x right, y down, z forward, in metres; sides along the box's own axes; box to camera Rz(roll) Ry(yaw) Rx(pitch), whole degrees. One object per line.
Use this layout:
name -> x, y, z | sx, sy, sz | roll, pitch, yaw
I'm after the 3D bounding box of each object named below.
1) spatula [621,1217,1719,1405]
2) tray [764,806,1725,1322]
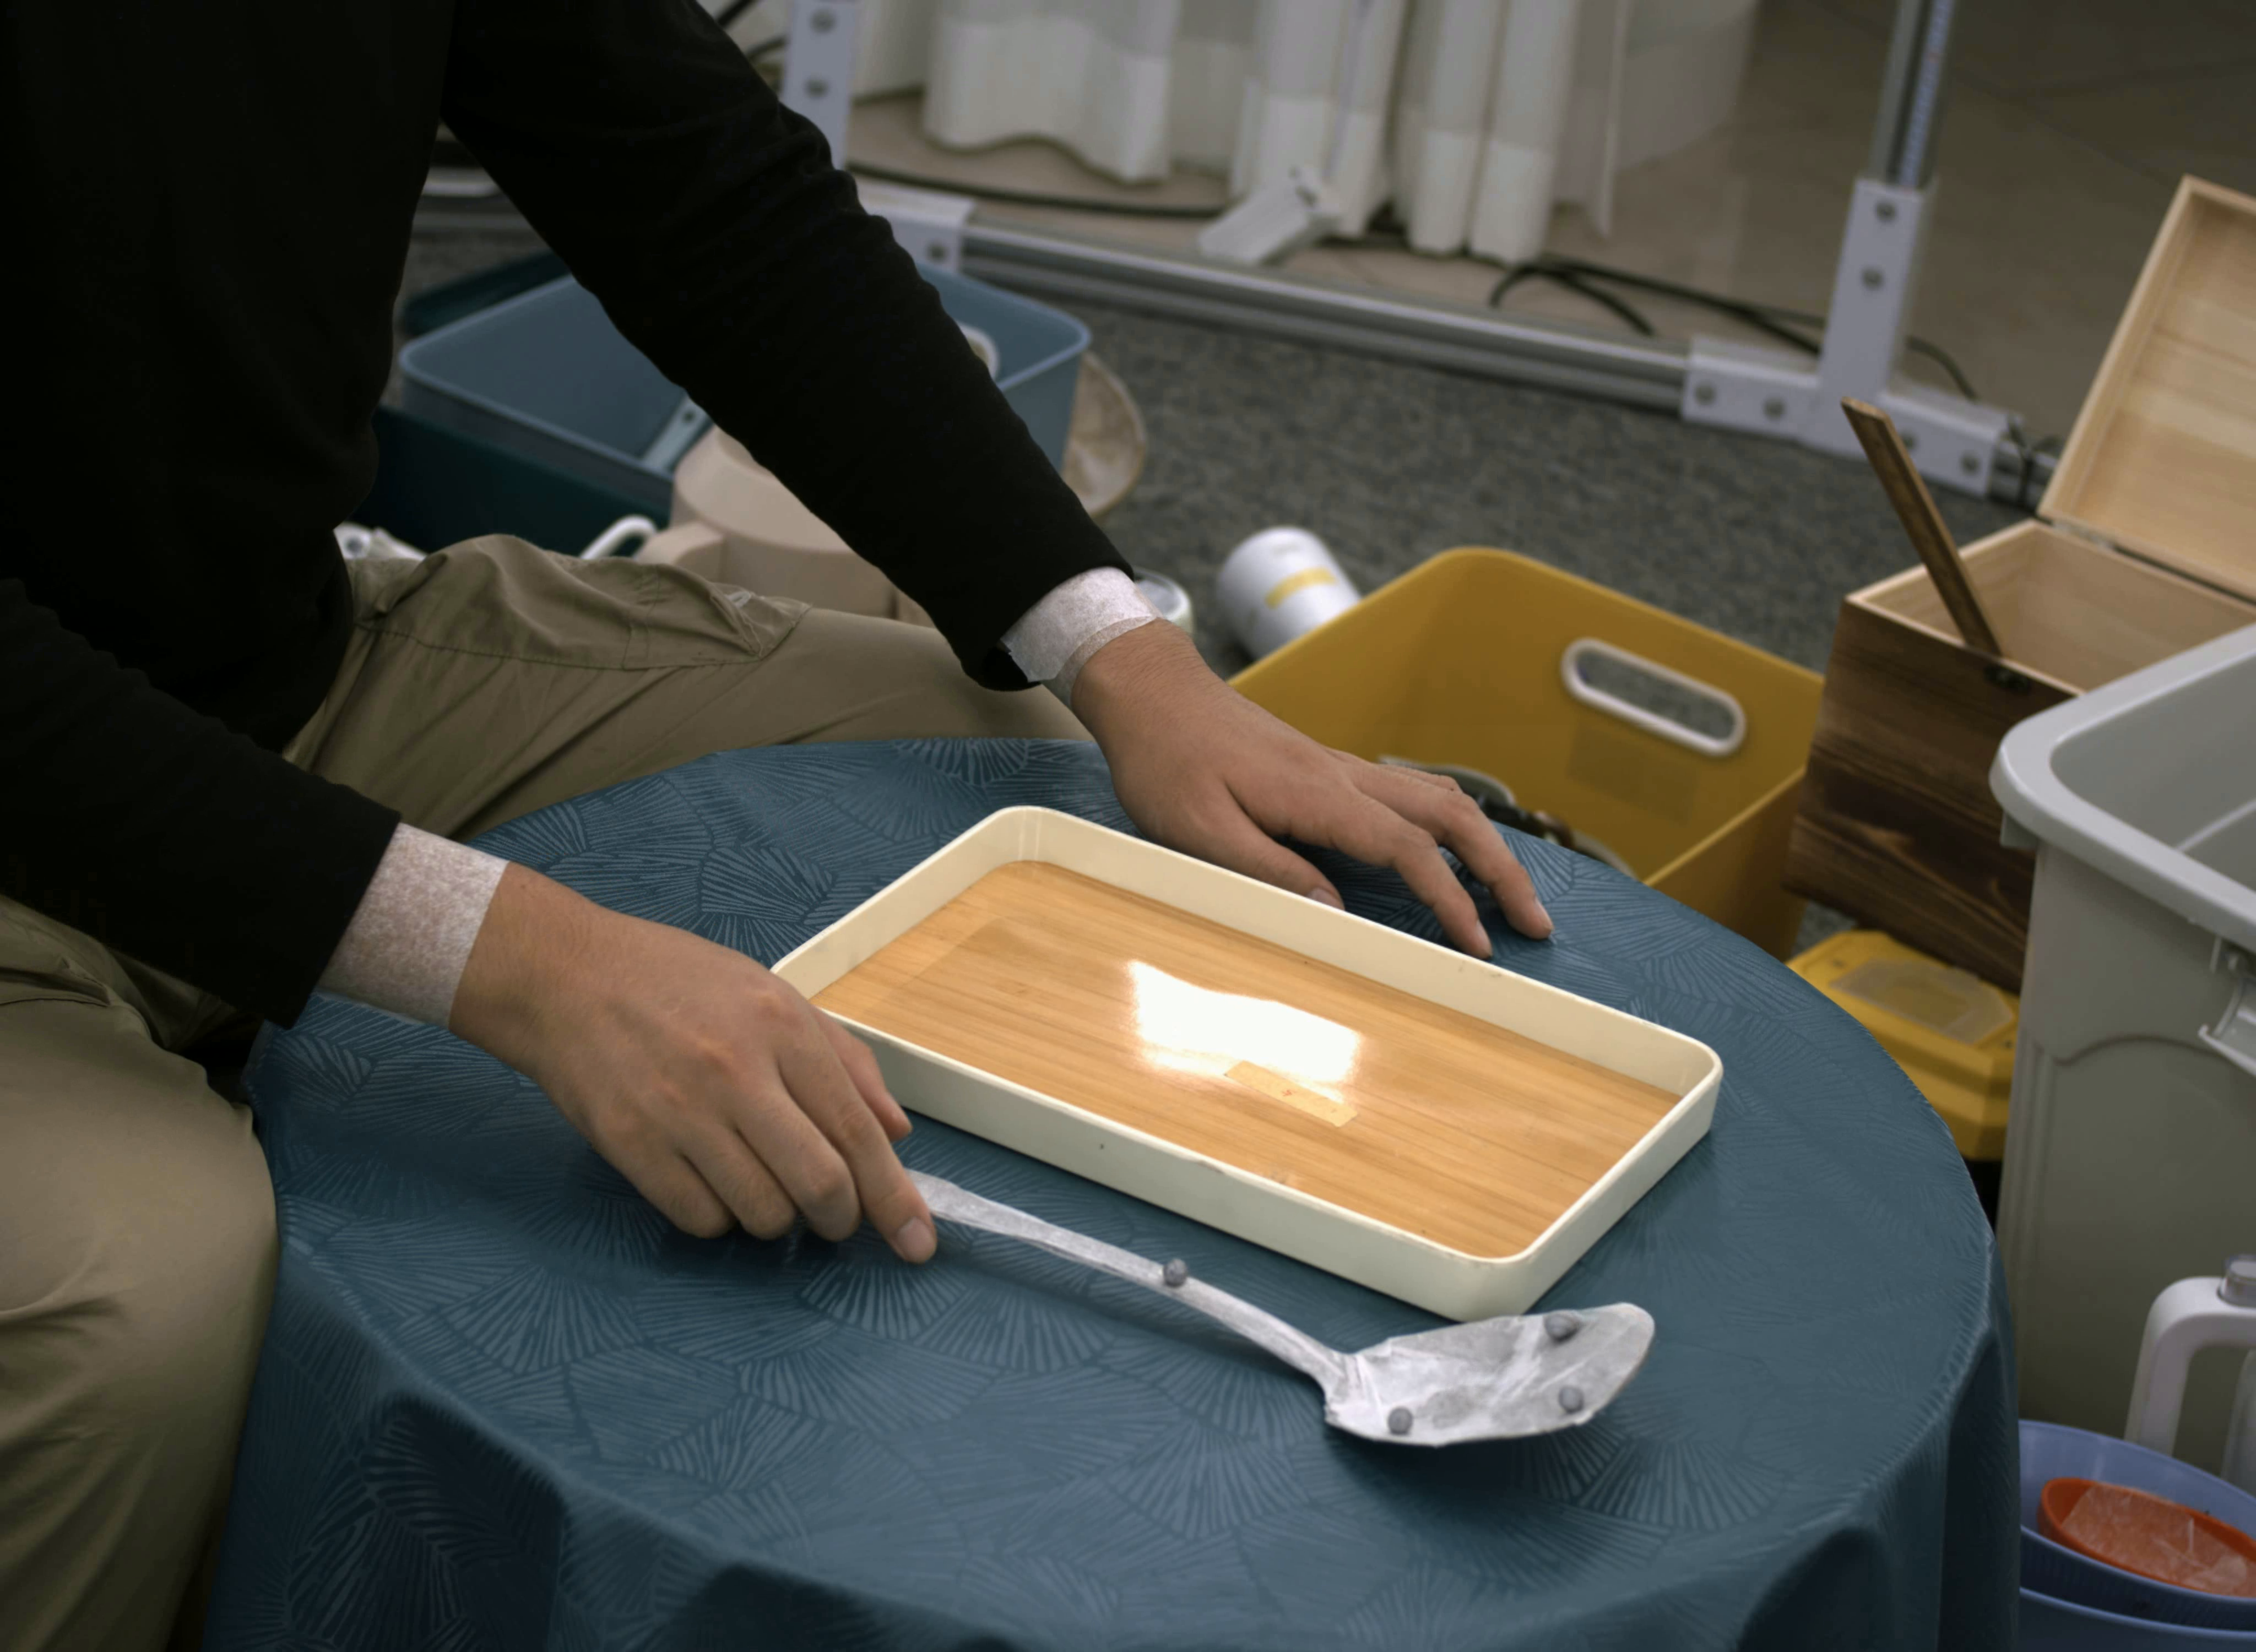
spatula -> 0.006, 0.146, 1.714 | 0.365, 0.045, 0.098 | 10, 9, 13
tray -> 0.041, 0.079, 1.869 | 0.301, 0.027, 0.191 | 20, 30, 24
